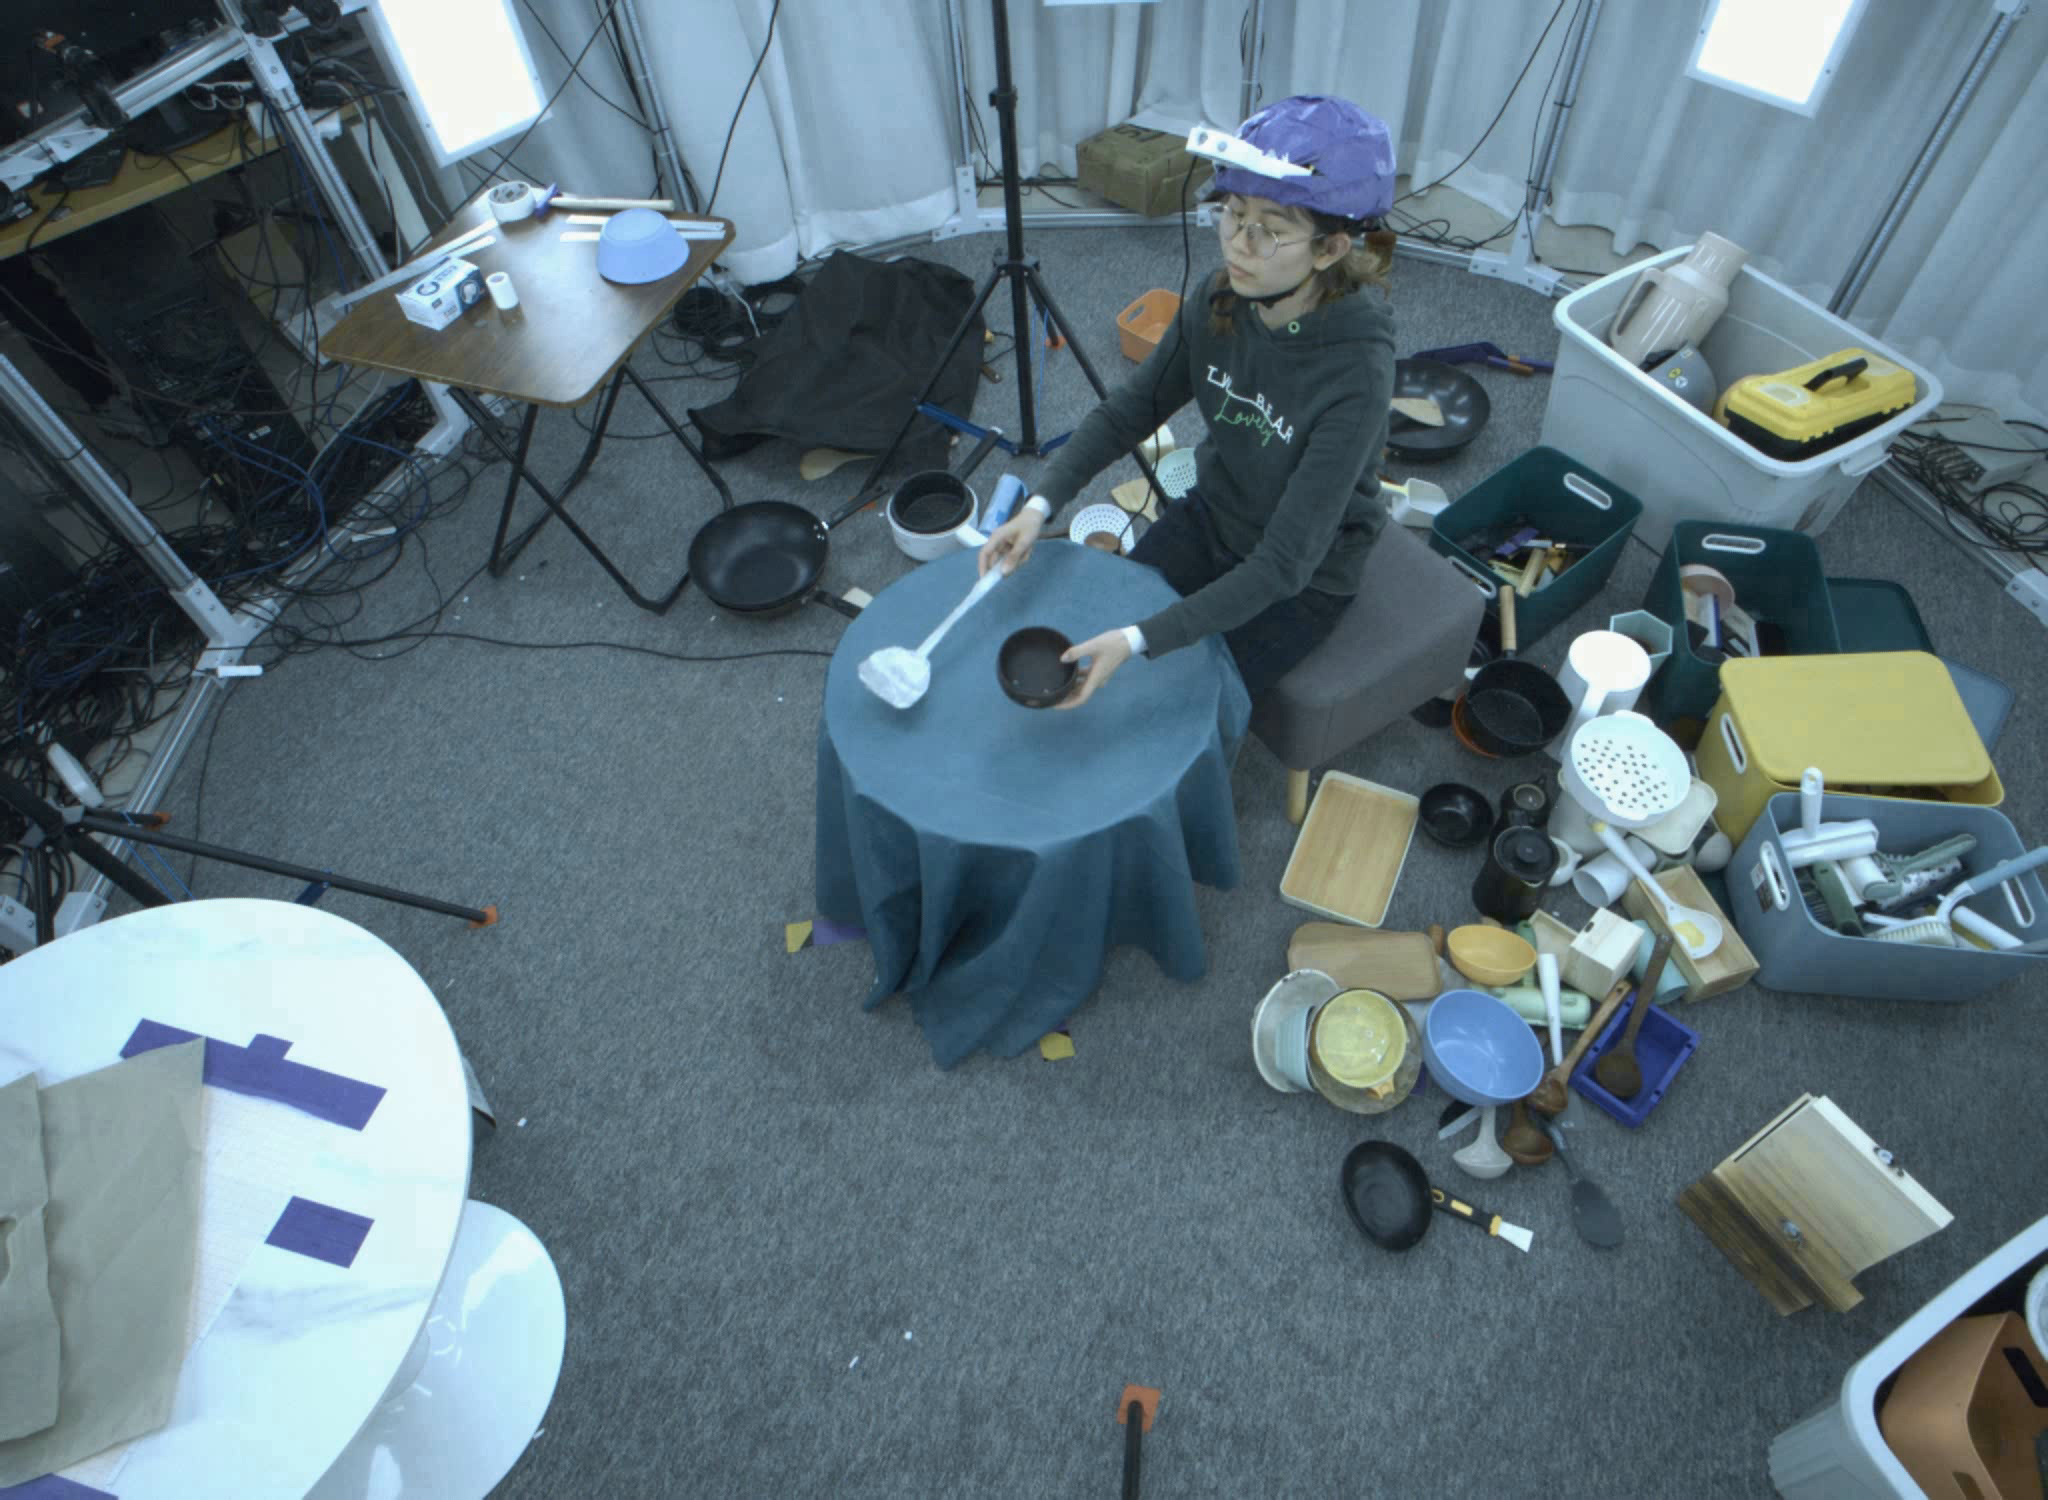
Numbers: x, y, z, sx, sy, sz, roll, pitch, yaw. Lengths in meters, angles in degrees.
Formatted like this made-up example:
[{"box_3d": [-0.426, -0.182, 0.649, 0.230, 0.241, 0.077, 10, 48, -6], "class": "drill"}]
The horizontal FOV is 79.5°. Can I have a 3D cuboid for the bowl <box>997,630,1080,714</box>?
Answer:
[{"box_3d": [0.019, -0.103, 1.743, 0.118, 0.070, 0.117, 3, 67, -5], "class": "bowl"}]

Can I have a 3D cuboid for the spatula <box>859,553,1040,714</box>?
[{"box_3d": [-0.100, -0.194, 1.859, 0.098, 0.045, 0.366, 41, 72, 6], "class": "spatula"}]
